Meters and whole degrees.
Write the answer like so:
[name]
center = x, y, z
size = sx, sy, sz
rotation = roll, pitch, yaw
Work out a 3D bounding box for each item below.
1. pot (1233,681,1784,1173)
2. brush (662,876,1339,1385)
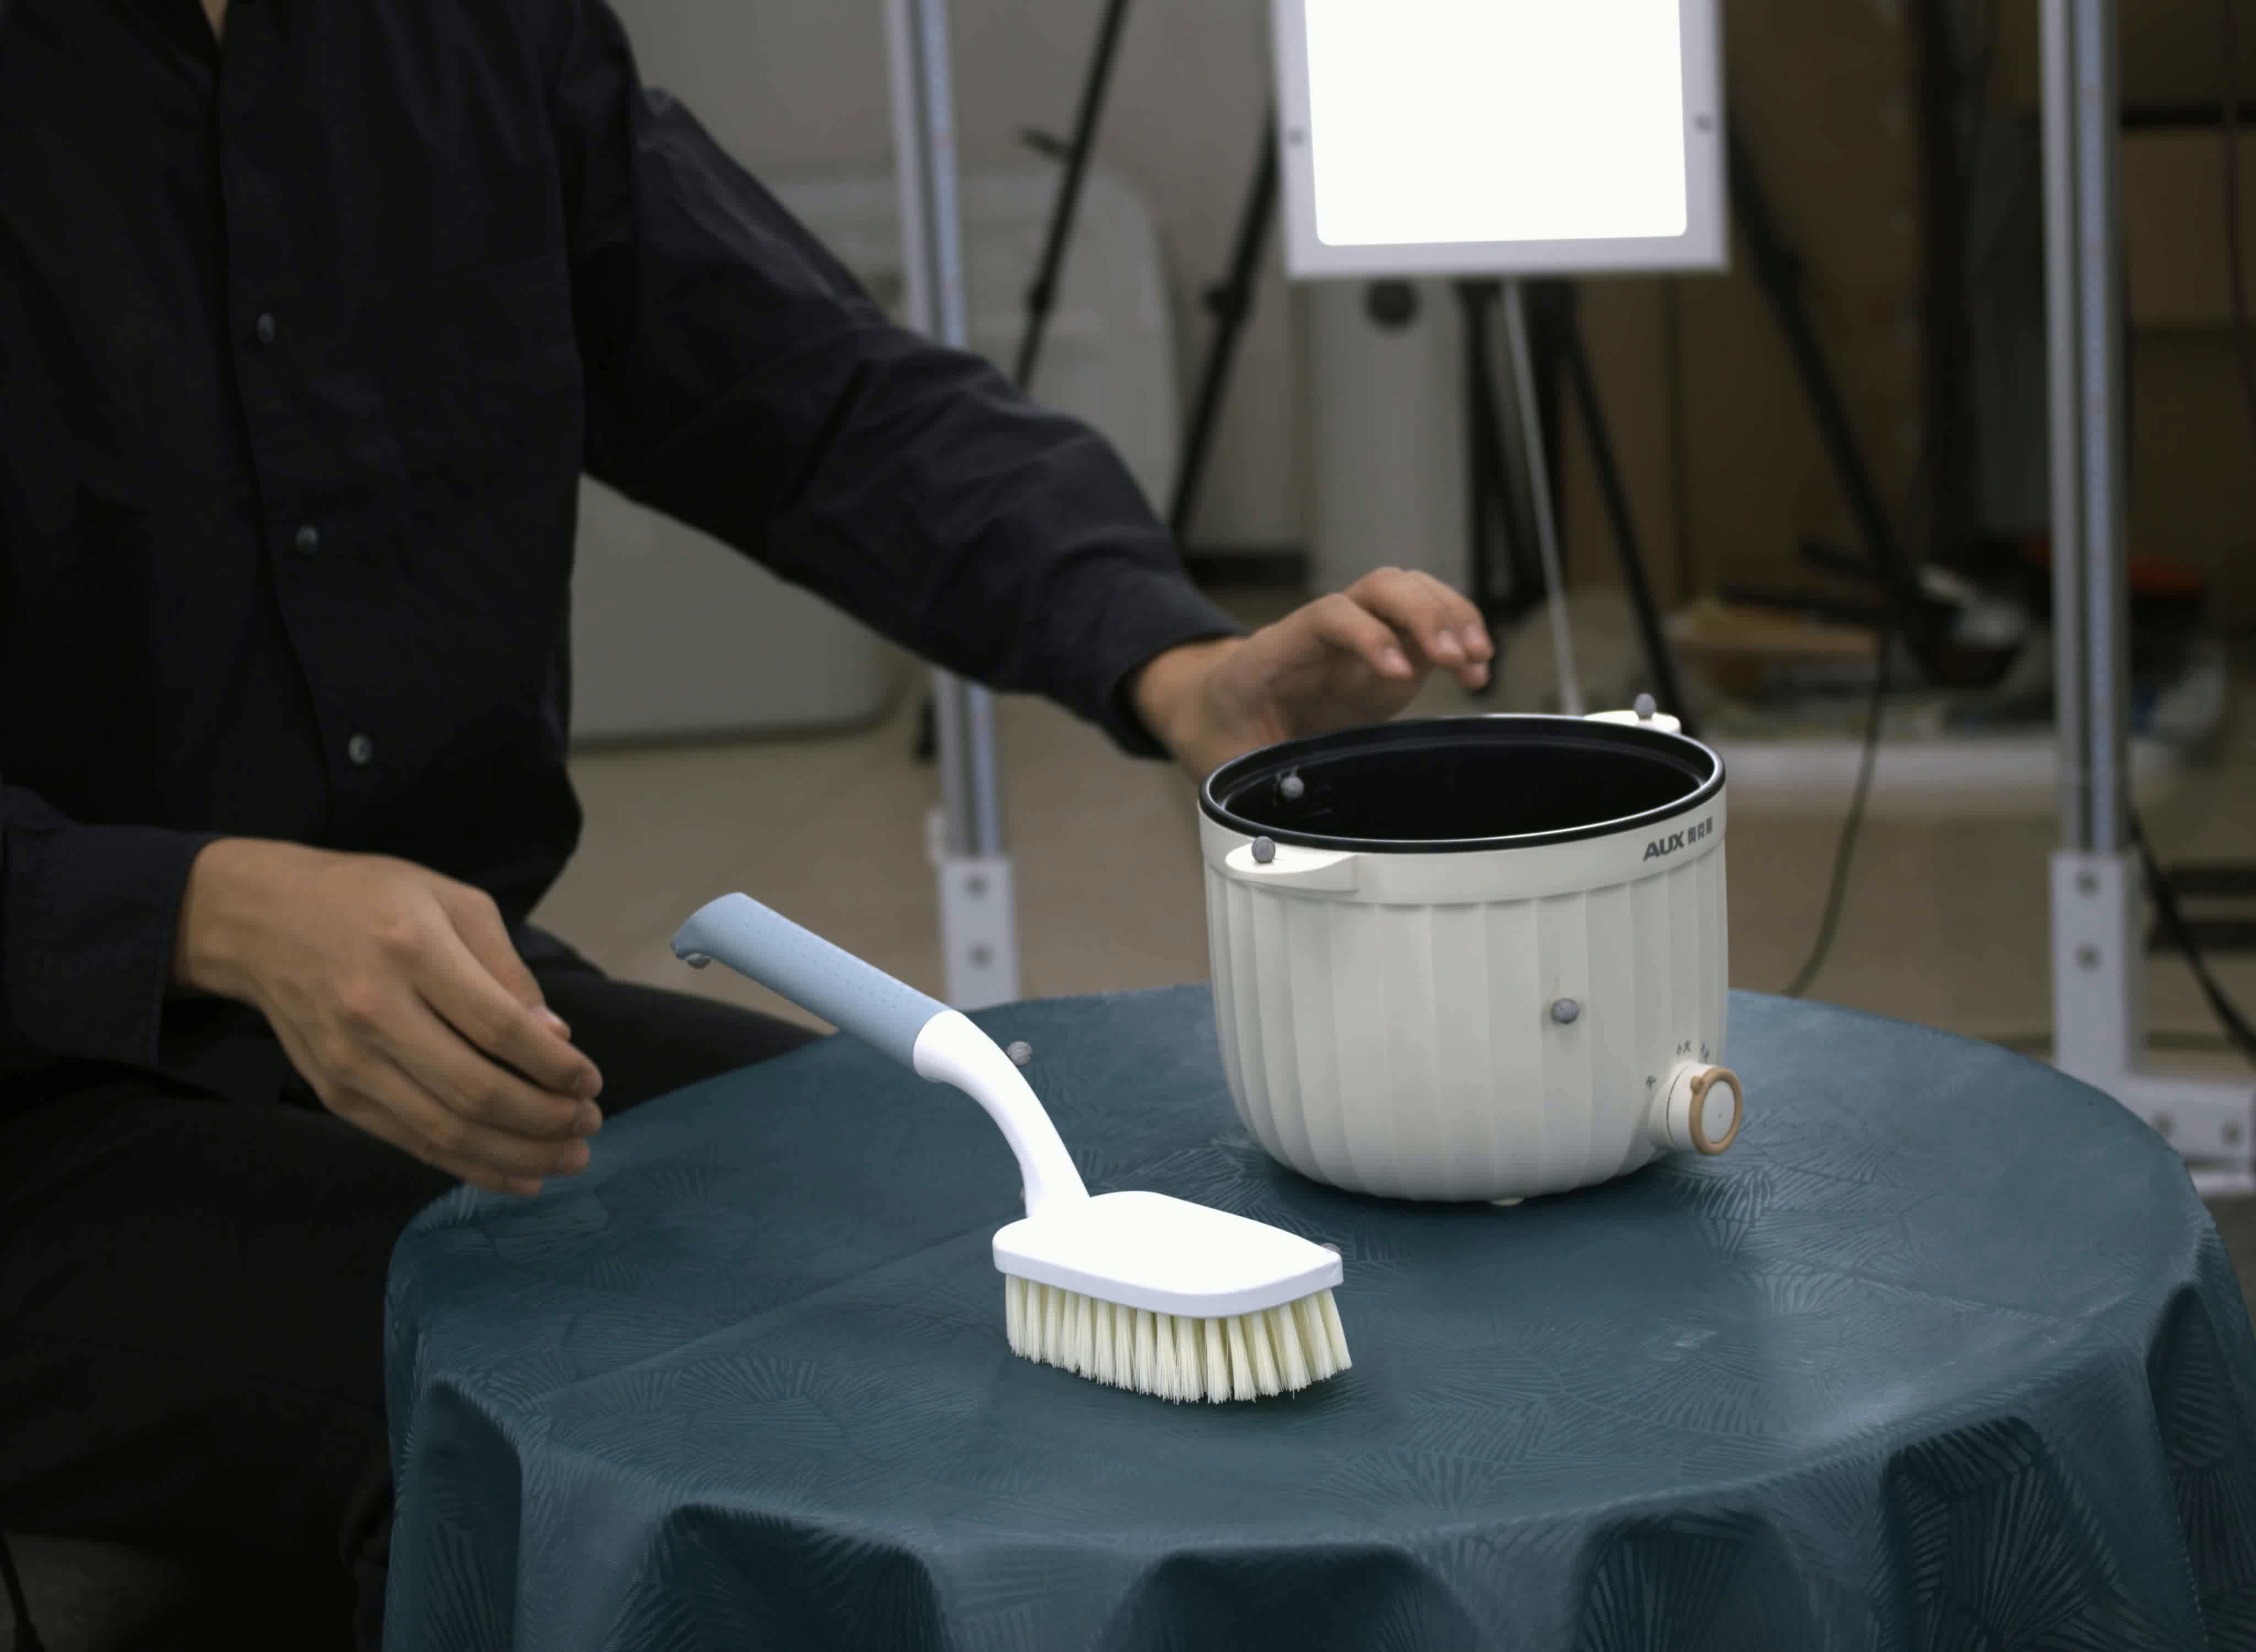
[pot]
center = 0.136, 0.037, 1.895
size = 0.194, 0.143, 0.234
rotation = 4, 17, 39
[brush]
center = -0.046, 0.111, 1.792
size = 0.331, 0.084, 0.081
rotation = 27, -4, 44
